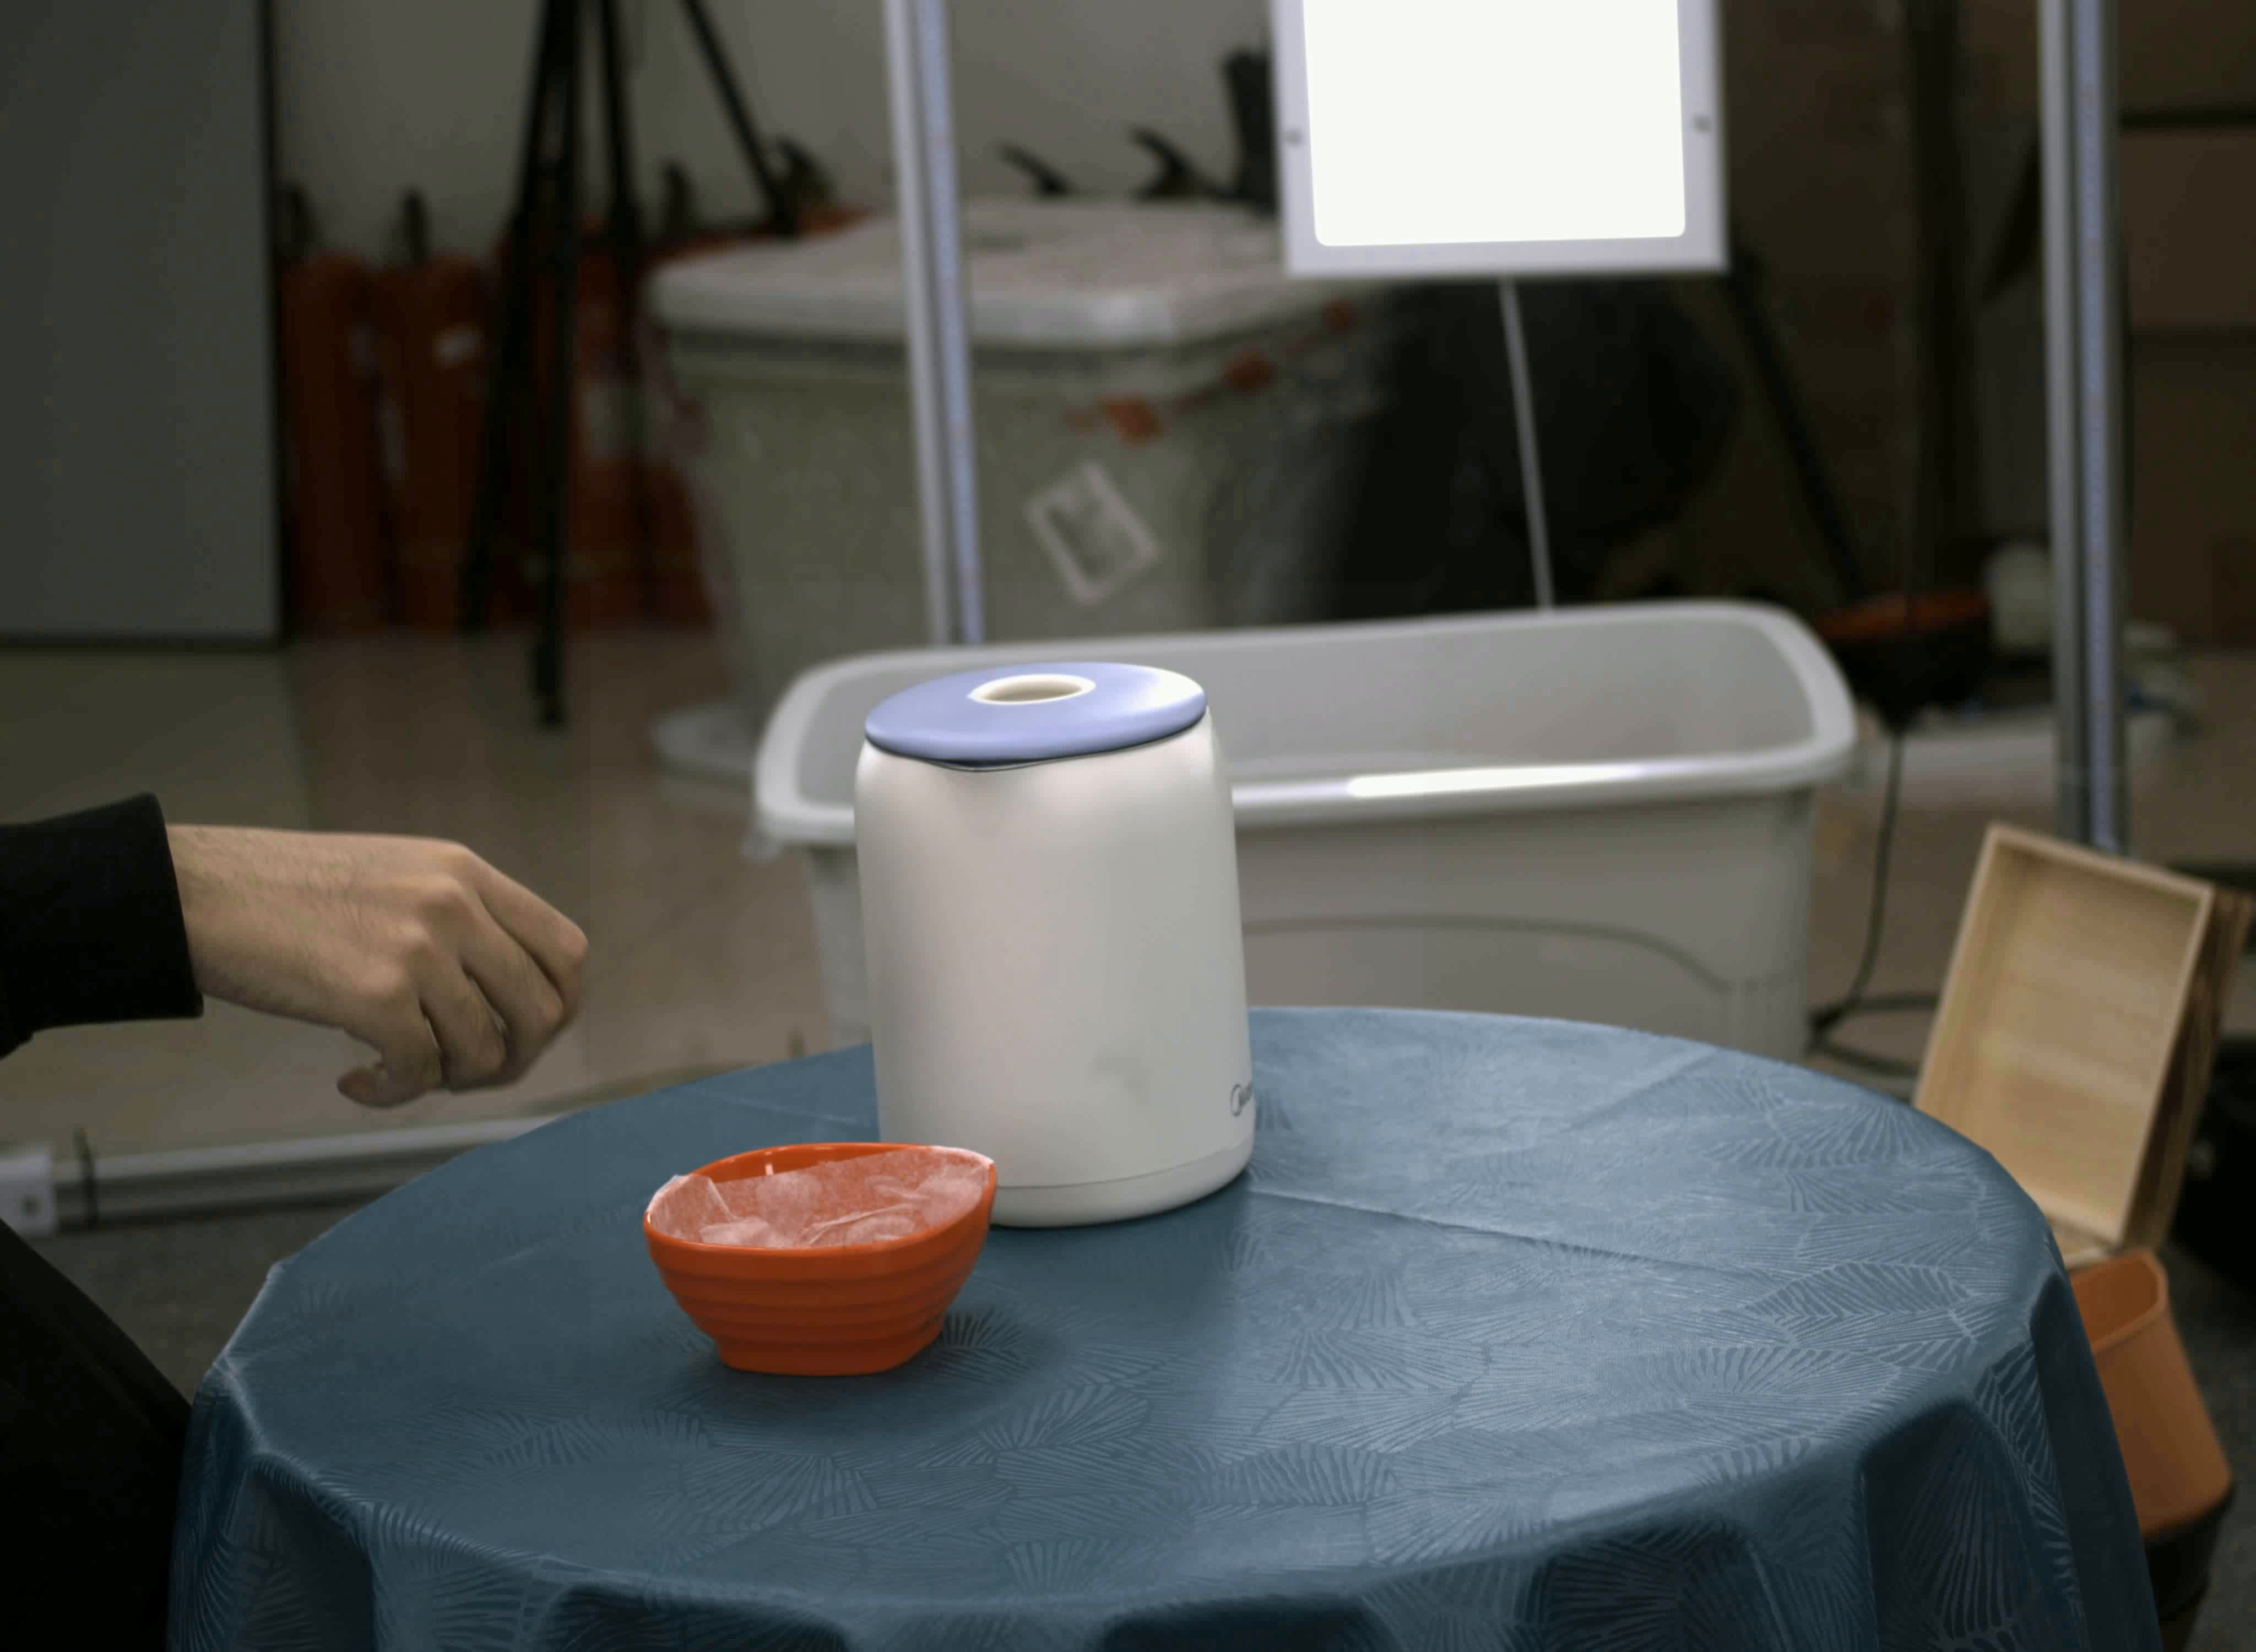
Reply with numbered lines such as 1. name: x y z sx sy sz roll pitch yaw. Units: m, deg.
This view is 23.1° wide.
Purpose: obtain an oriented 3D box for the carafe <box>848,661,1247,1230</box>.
1. carafe: -0.022 0.035 1.920 0.133 0.183 0.188 1 12 15

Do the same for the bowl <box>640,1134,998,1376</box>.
1. bowl: -0.097 0.140 1.764 0.118 0.051 0.119 -4 16 0
